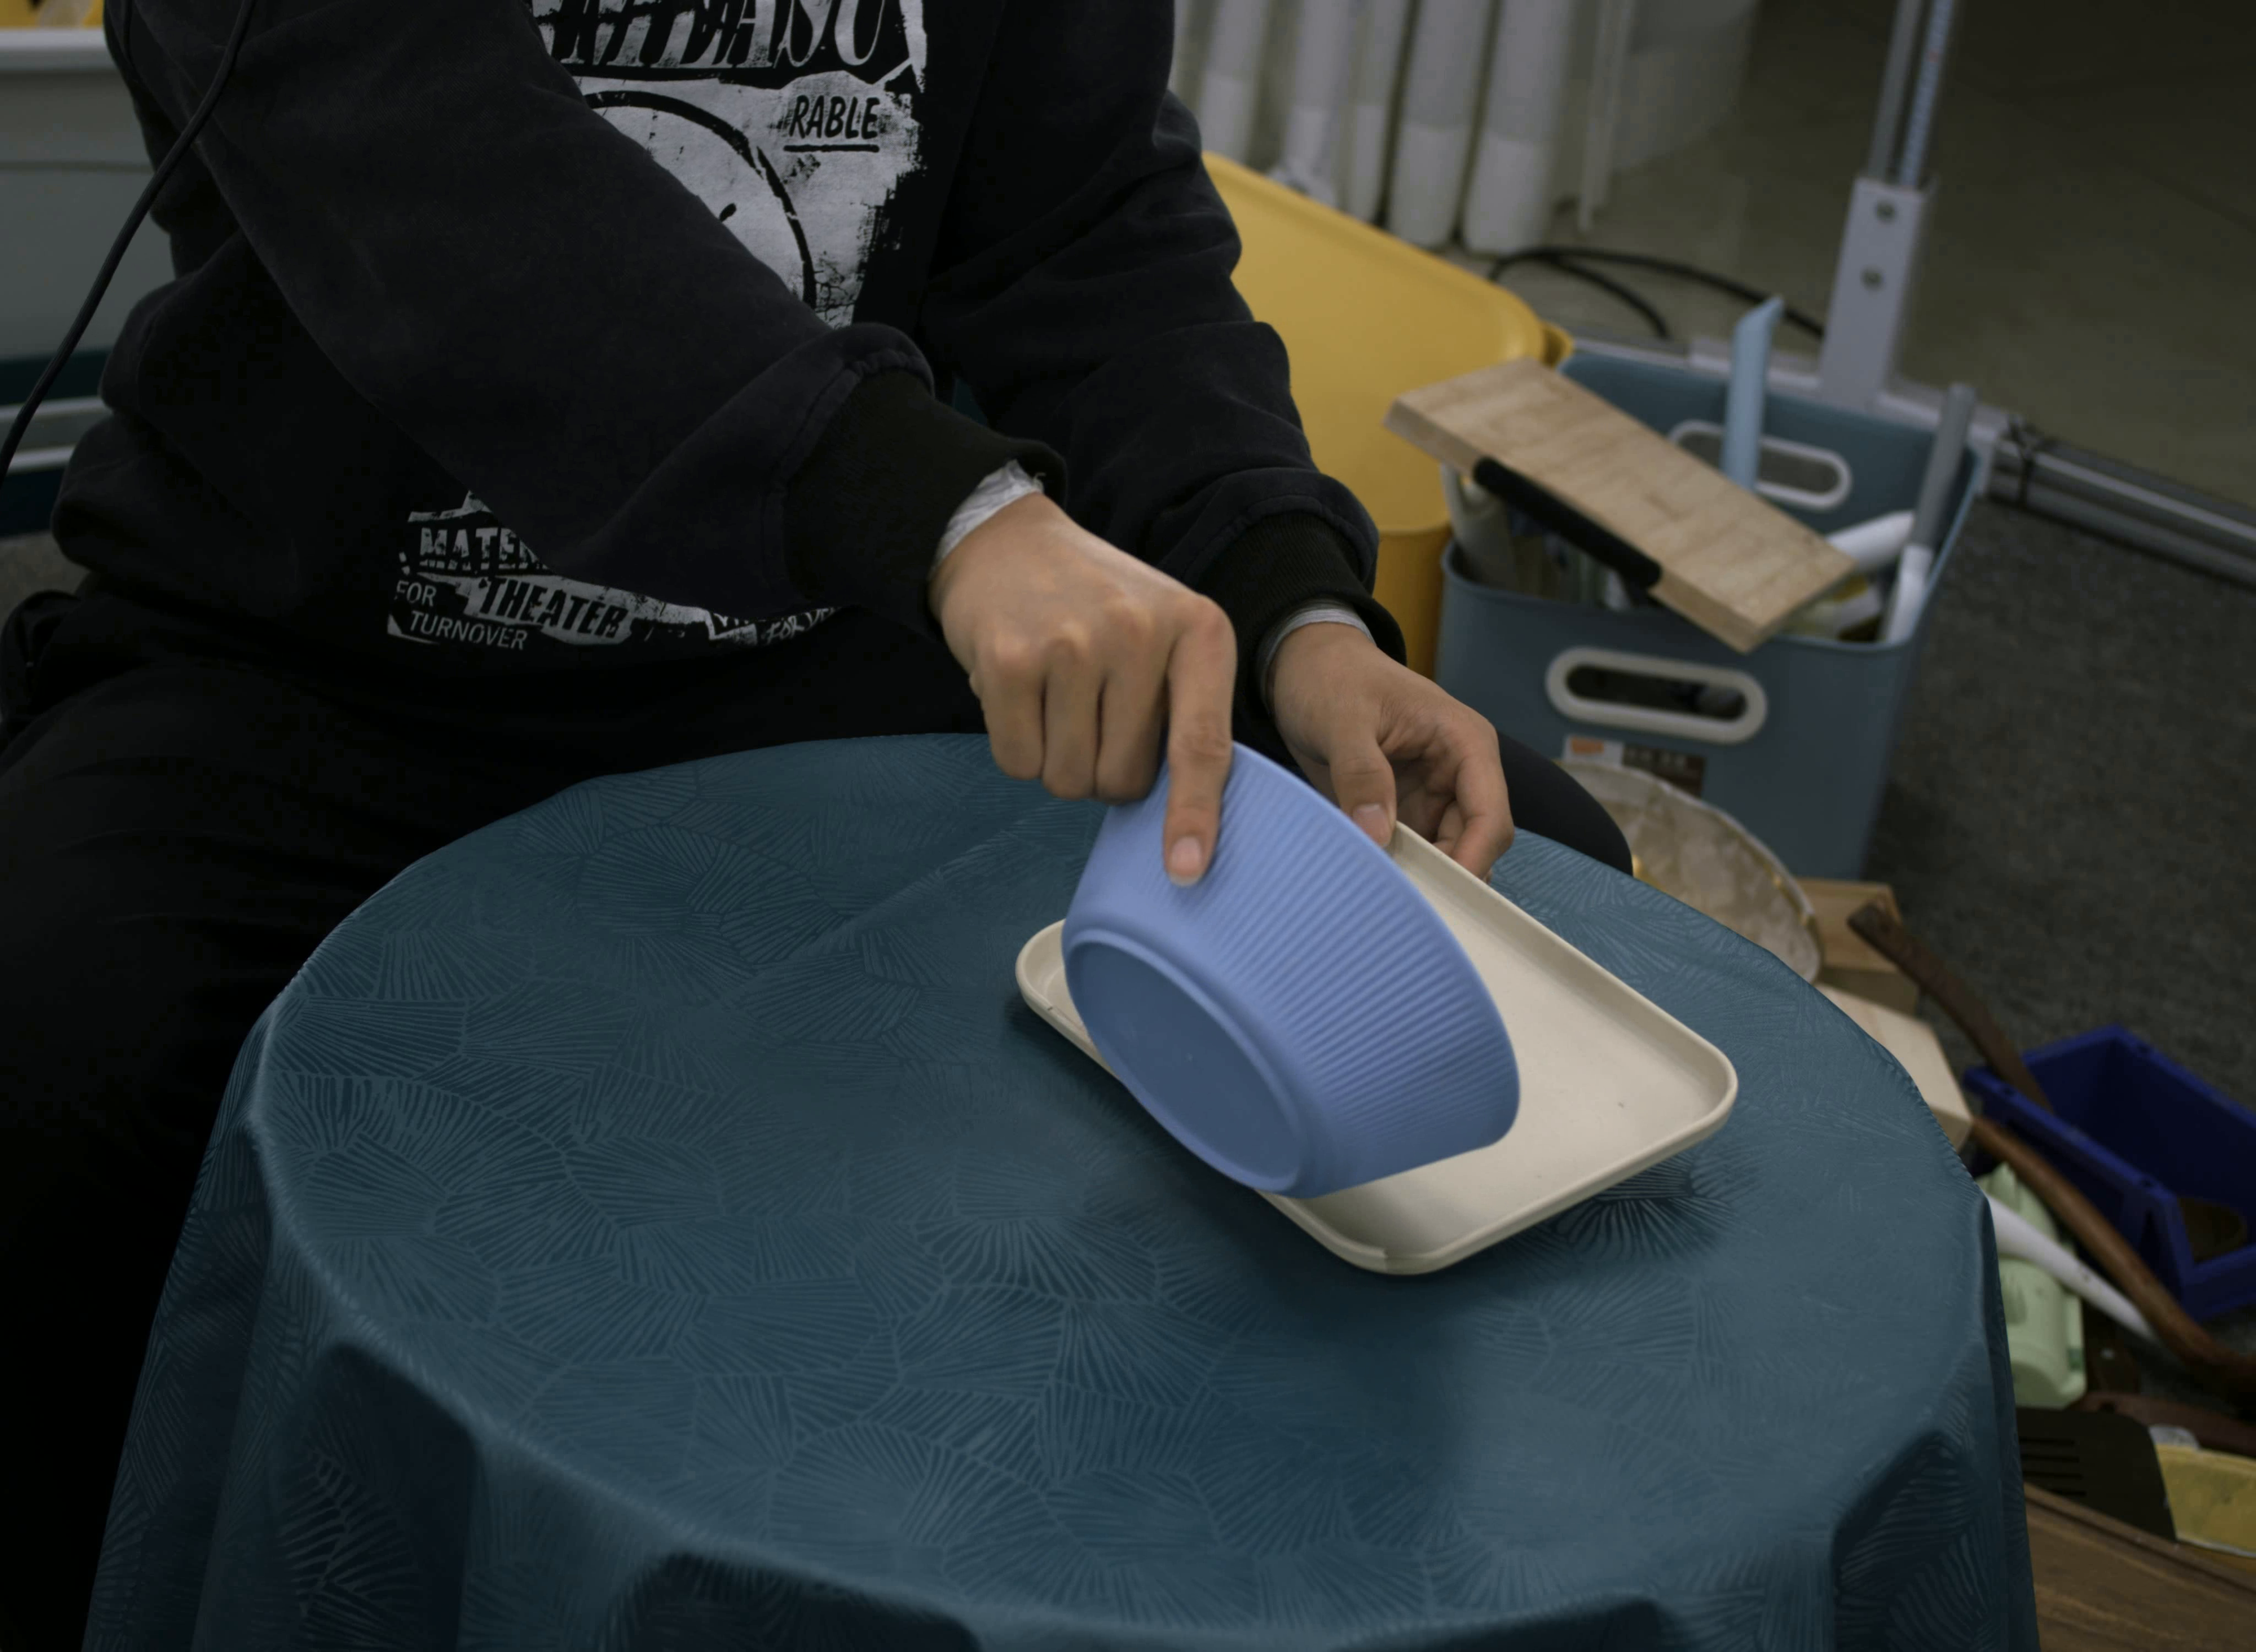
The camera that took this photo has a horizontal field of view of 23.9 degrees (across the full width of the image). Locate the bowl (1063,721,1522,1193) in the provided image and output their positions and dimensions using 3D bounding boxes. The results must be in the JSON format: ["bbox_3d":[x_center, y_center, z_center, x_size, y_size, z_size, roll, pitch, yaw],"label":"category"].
[{"bbox_3d":[0.042,0.054,1.730,0.070,0.175,0.177,-41,48,-22],"label":"bowl"}]

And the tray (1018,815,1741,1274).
[{"bbox_3d":[0.086,0.075,1.868,0.170,0.017,0.242,-22,38,-27],"label":"tray"}]
